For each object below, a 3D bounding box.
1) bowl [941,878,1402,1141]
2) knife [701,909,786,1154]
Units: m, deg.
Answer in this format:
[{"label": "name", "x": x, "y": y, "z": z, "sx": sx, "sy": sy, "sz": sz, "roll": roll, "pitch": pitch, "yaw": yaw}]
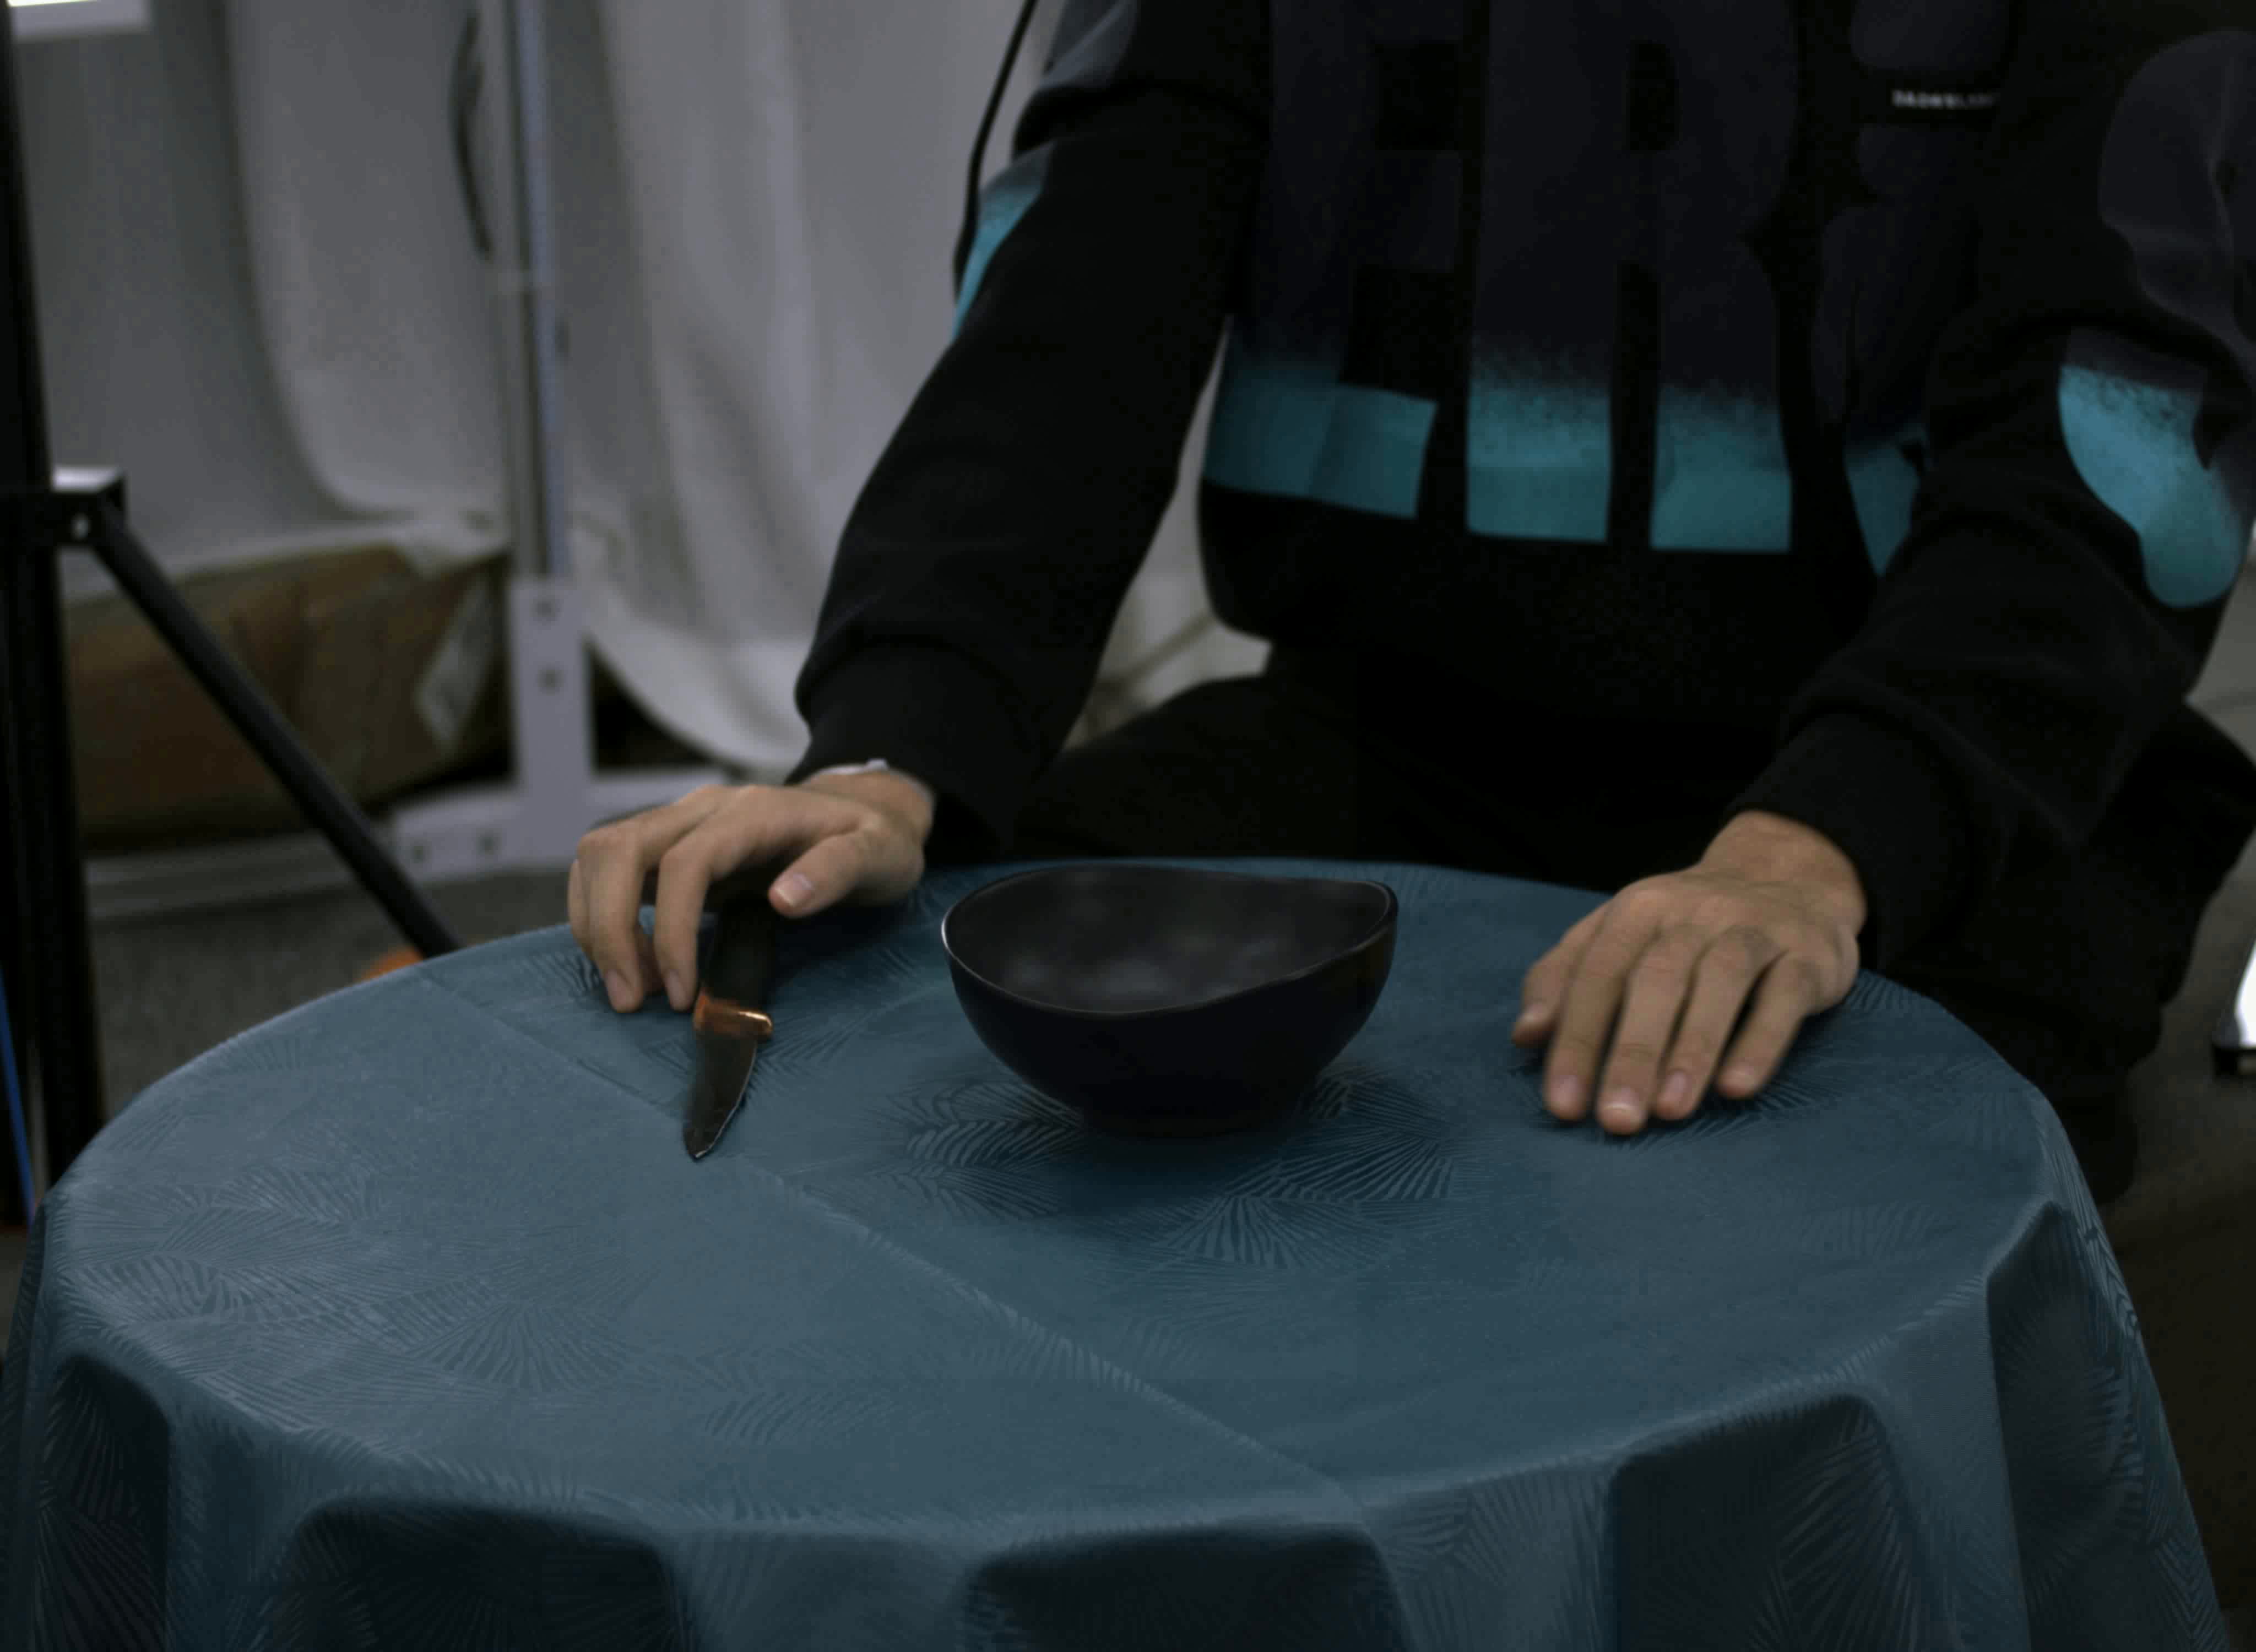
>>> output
[{"label": "bowl", "x": 0.015, "y": 0.056, "z": 1.621, "sx": 0.139, "sy": 0.067, "sz": 0.168, "roll": 4, "pitch": 15, "yaw": 19}, {"label": "knife", "x": -0.124, "y": 0.065, "z": 1.708, "sx": 0.026, "sy": 0.017, "sz": 0.226, "roll": -5, "pitch": 17, "yaw": 1}]
